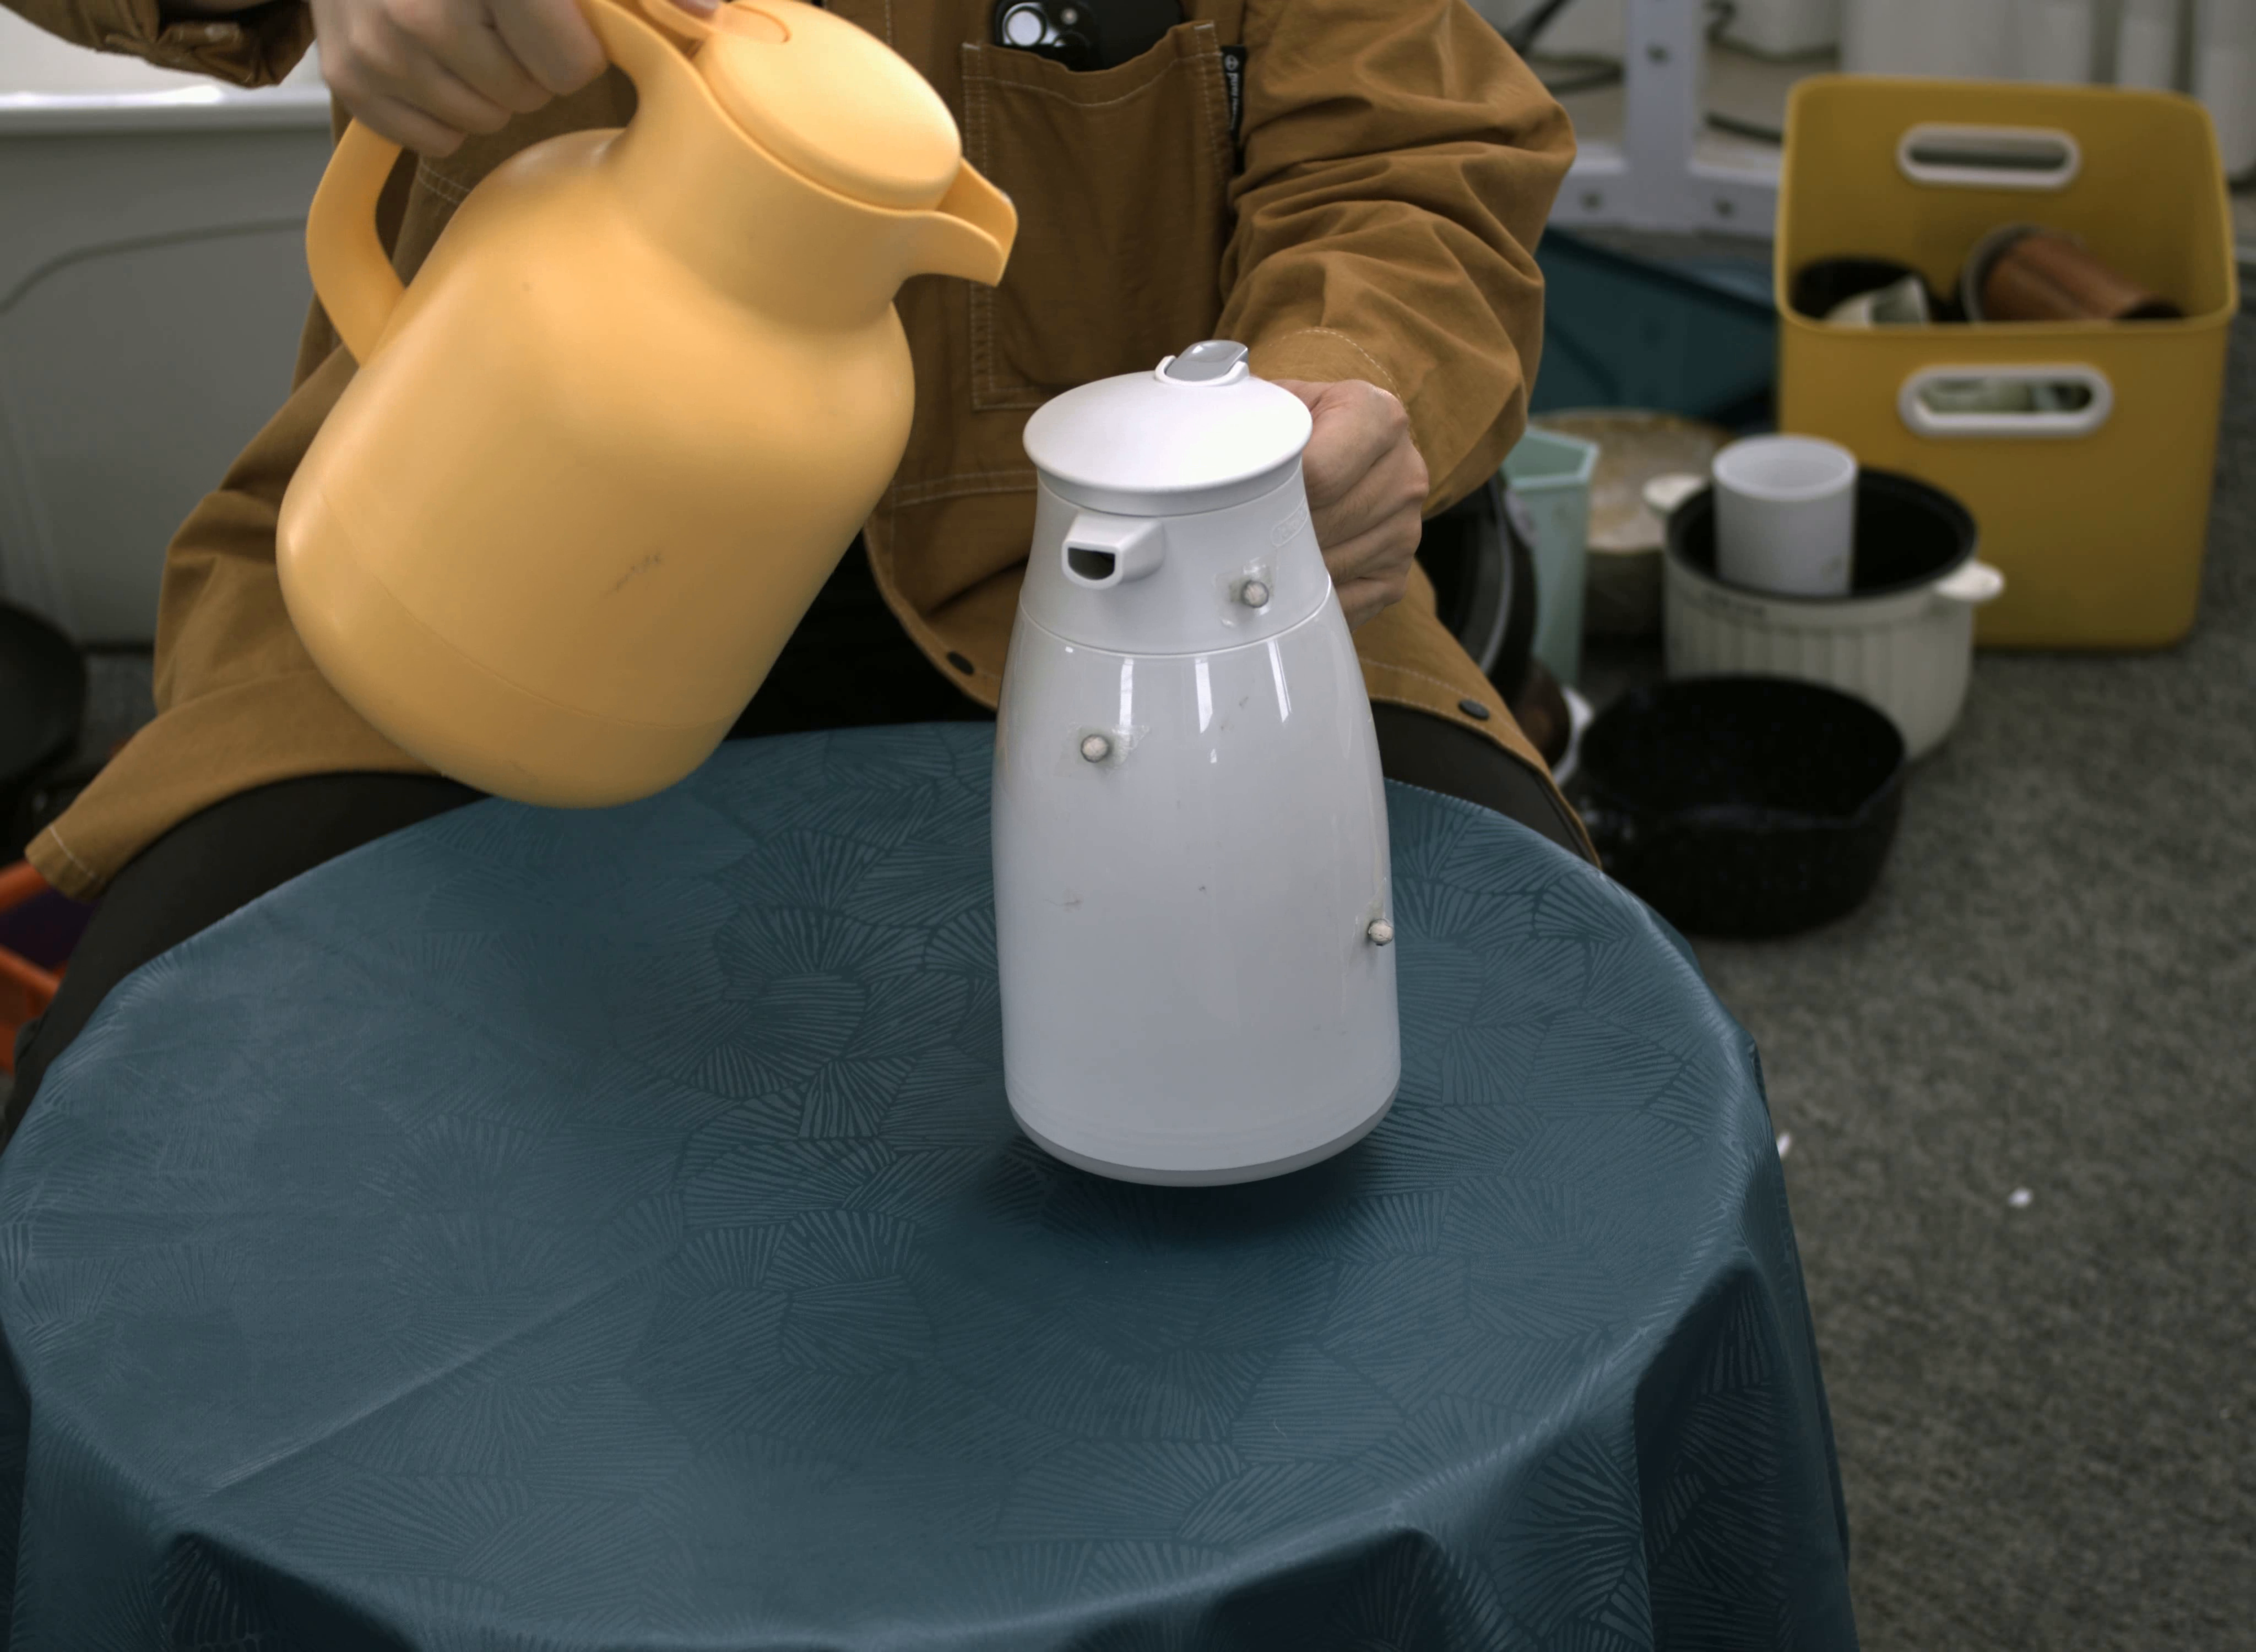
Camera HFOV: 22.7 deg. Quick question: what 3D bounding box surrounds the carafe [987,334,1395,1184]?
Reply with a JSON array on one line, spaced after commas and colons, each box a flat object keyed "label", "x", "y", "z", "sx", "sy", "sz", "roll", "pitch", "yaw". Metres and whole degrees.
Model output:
[{"label": "carafe", "x": 0.024, "y": -0.033, "z": 1.833, "sx": 0.131, "sy": 0.246, "sz": 0.170, "roll": 7, "pitch": 27, "yaw": 21}]

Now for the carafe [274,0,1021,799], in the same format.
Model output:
[{"label": "carafe", "x": -0.166, "y": -0.152, "z": 1.779, "sx": 0.202, "sy": 0.256, "sz": 0.166, "roll": 34, "pitch": 29, "yaw": -8}]
